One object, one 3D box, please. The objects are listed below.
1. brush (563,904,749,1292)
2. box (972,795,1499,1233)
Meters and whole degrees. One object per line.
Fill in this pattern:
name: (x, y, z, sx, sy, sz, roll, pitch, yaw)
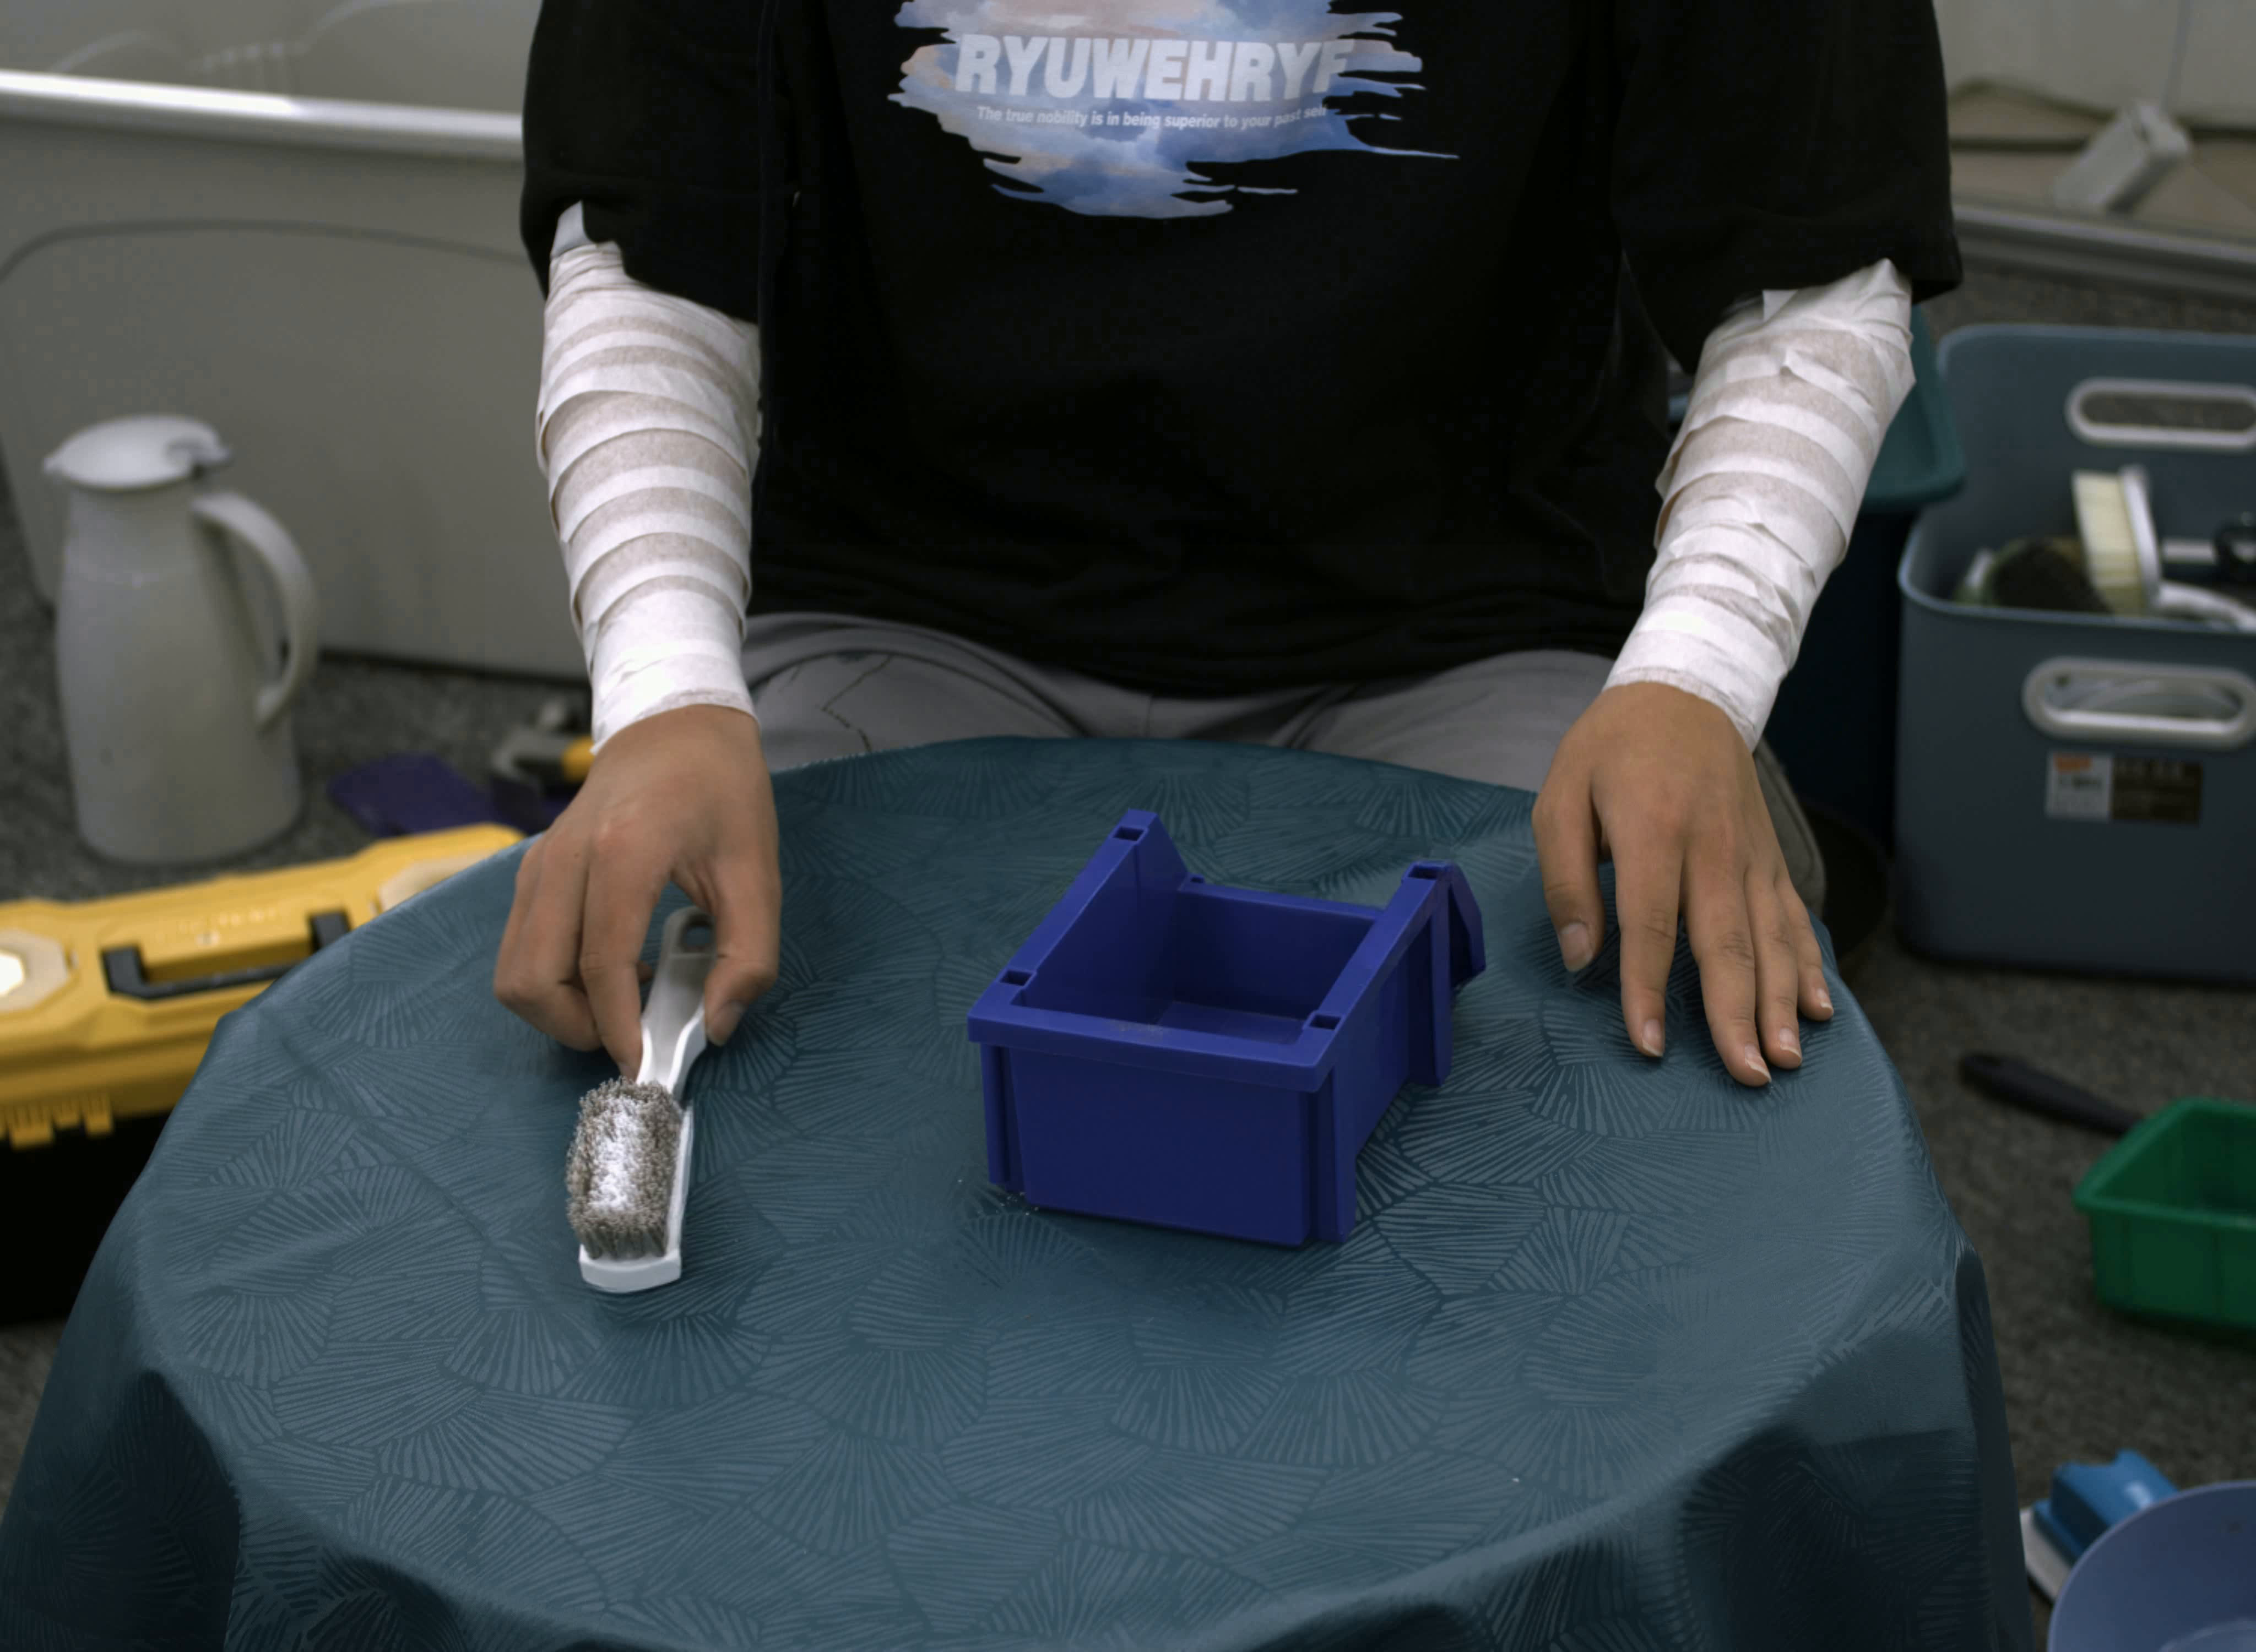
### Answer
brush: (-0.157, 0.075, 1.905, 0.034, 0.049, 0.248, -2, 30, 6)
box: (0.038, 0.058, 1.894, 0.123, 0.081, 0.182, 7, 30, 21)
